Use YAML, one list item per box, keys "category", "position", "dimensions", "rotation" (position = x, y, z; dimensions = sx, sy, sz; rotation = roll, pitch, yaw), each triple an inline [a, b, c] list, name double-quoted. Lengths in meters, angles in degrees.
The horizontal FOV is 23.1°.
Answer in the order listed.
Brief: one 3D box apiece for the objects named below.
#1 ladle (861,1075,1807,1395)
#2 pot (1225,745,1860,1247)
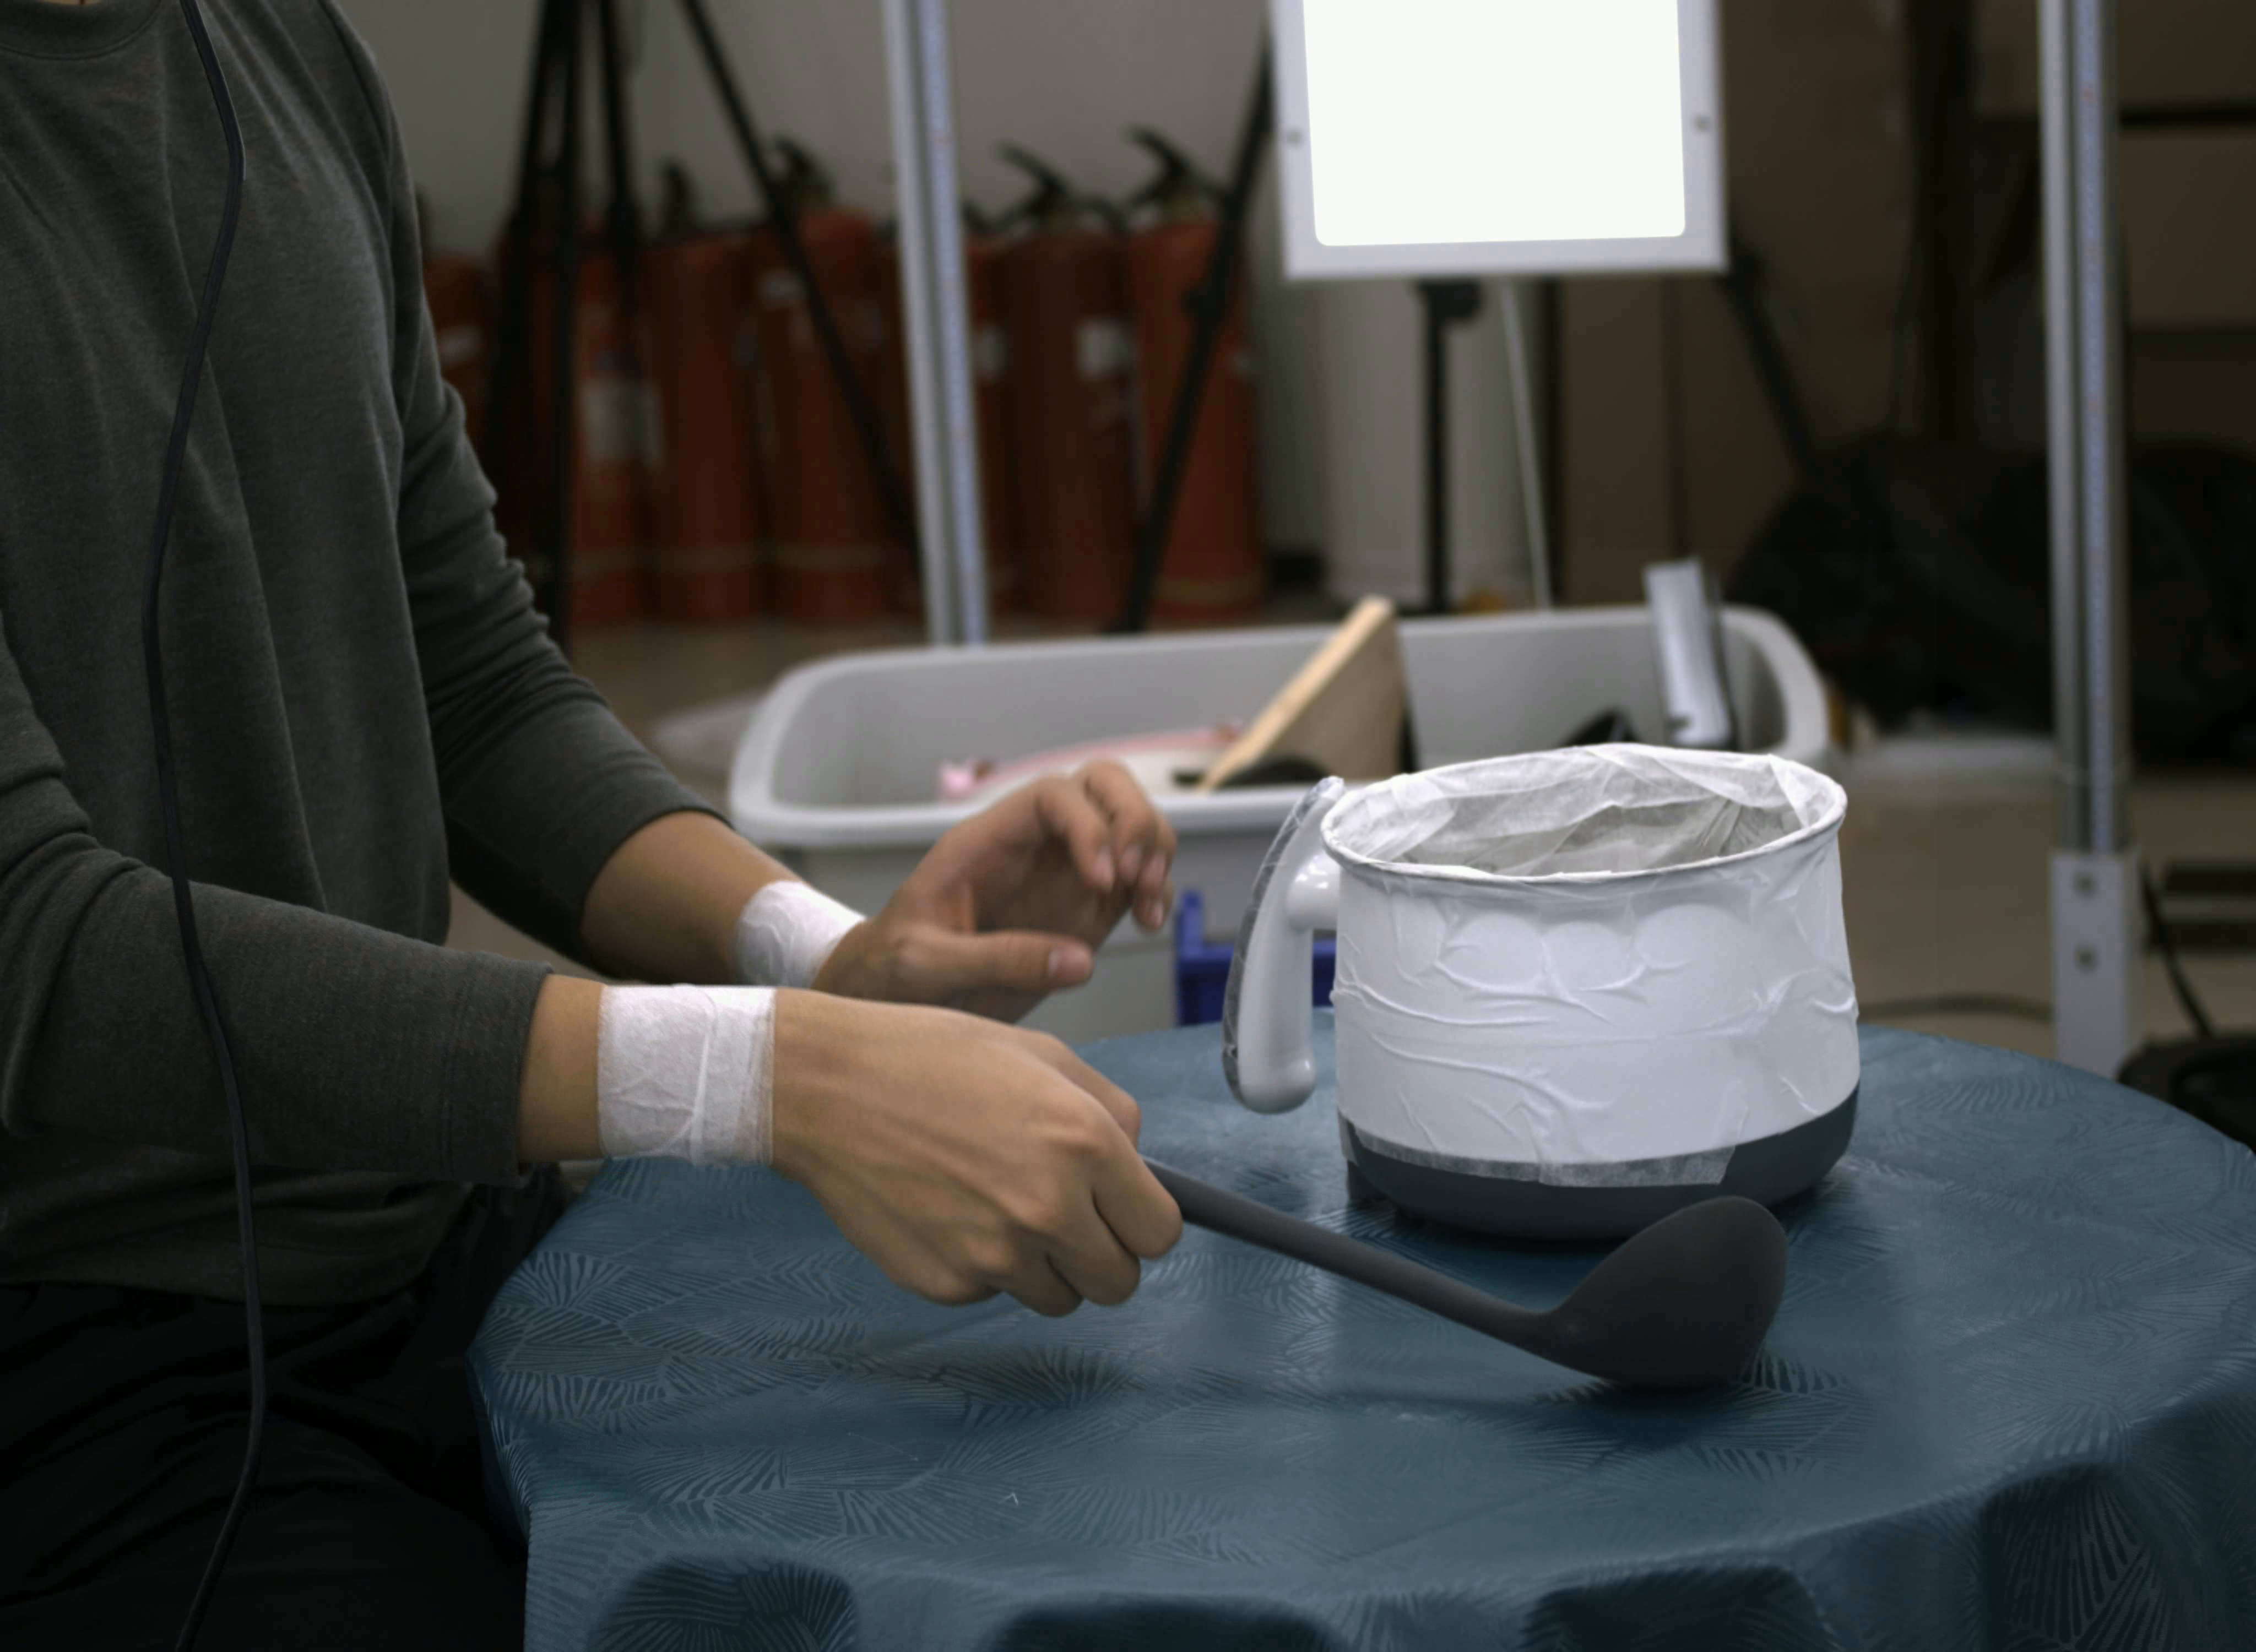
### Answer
- category: "ladle"
  position: [0.060, 0.108, 1.703]
  dimensions: [0.319, 0.085, 0.063]
  rotation: [18, 66, 27]
- category: "pot"
  position: [0.134, 0.054, 1.863]
  dimensions: [0.238, 0.137, 0.174]
  rotation: [4, 16, 34]
